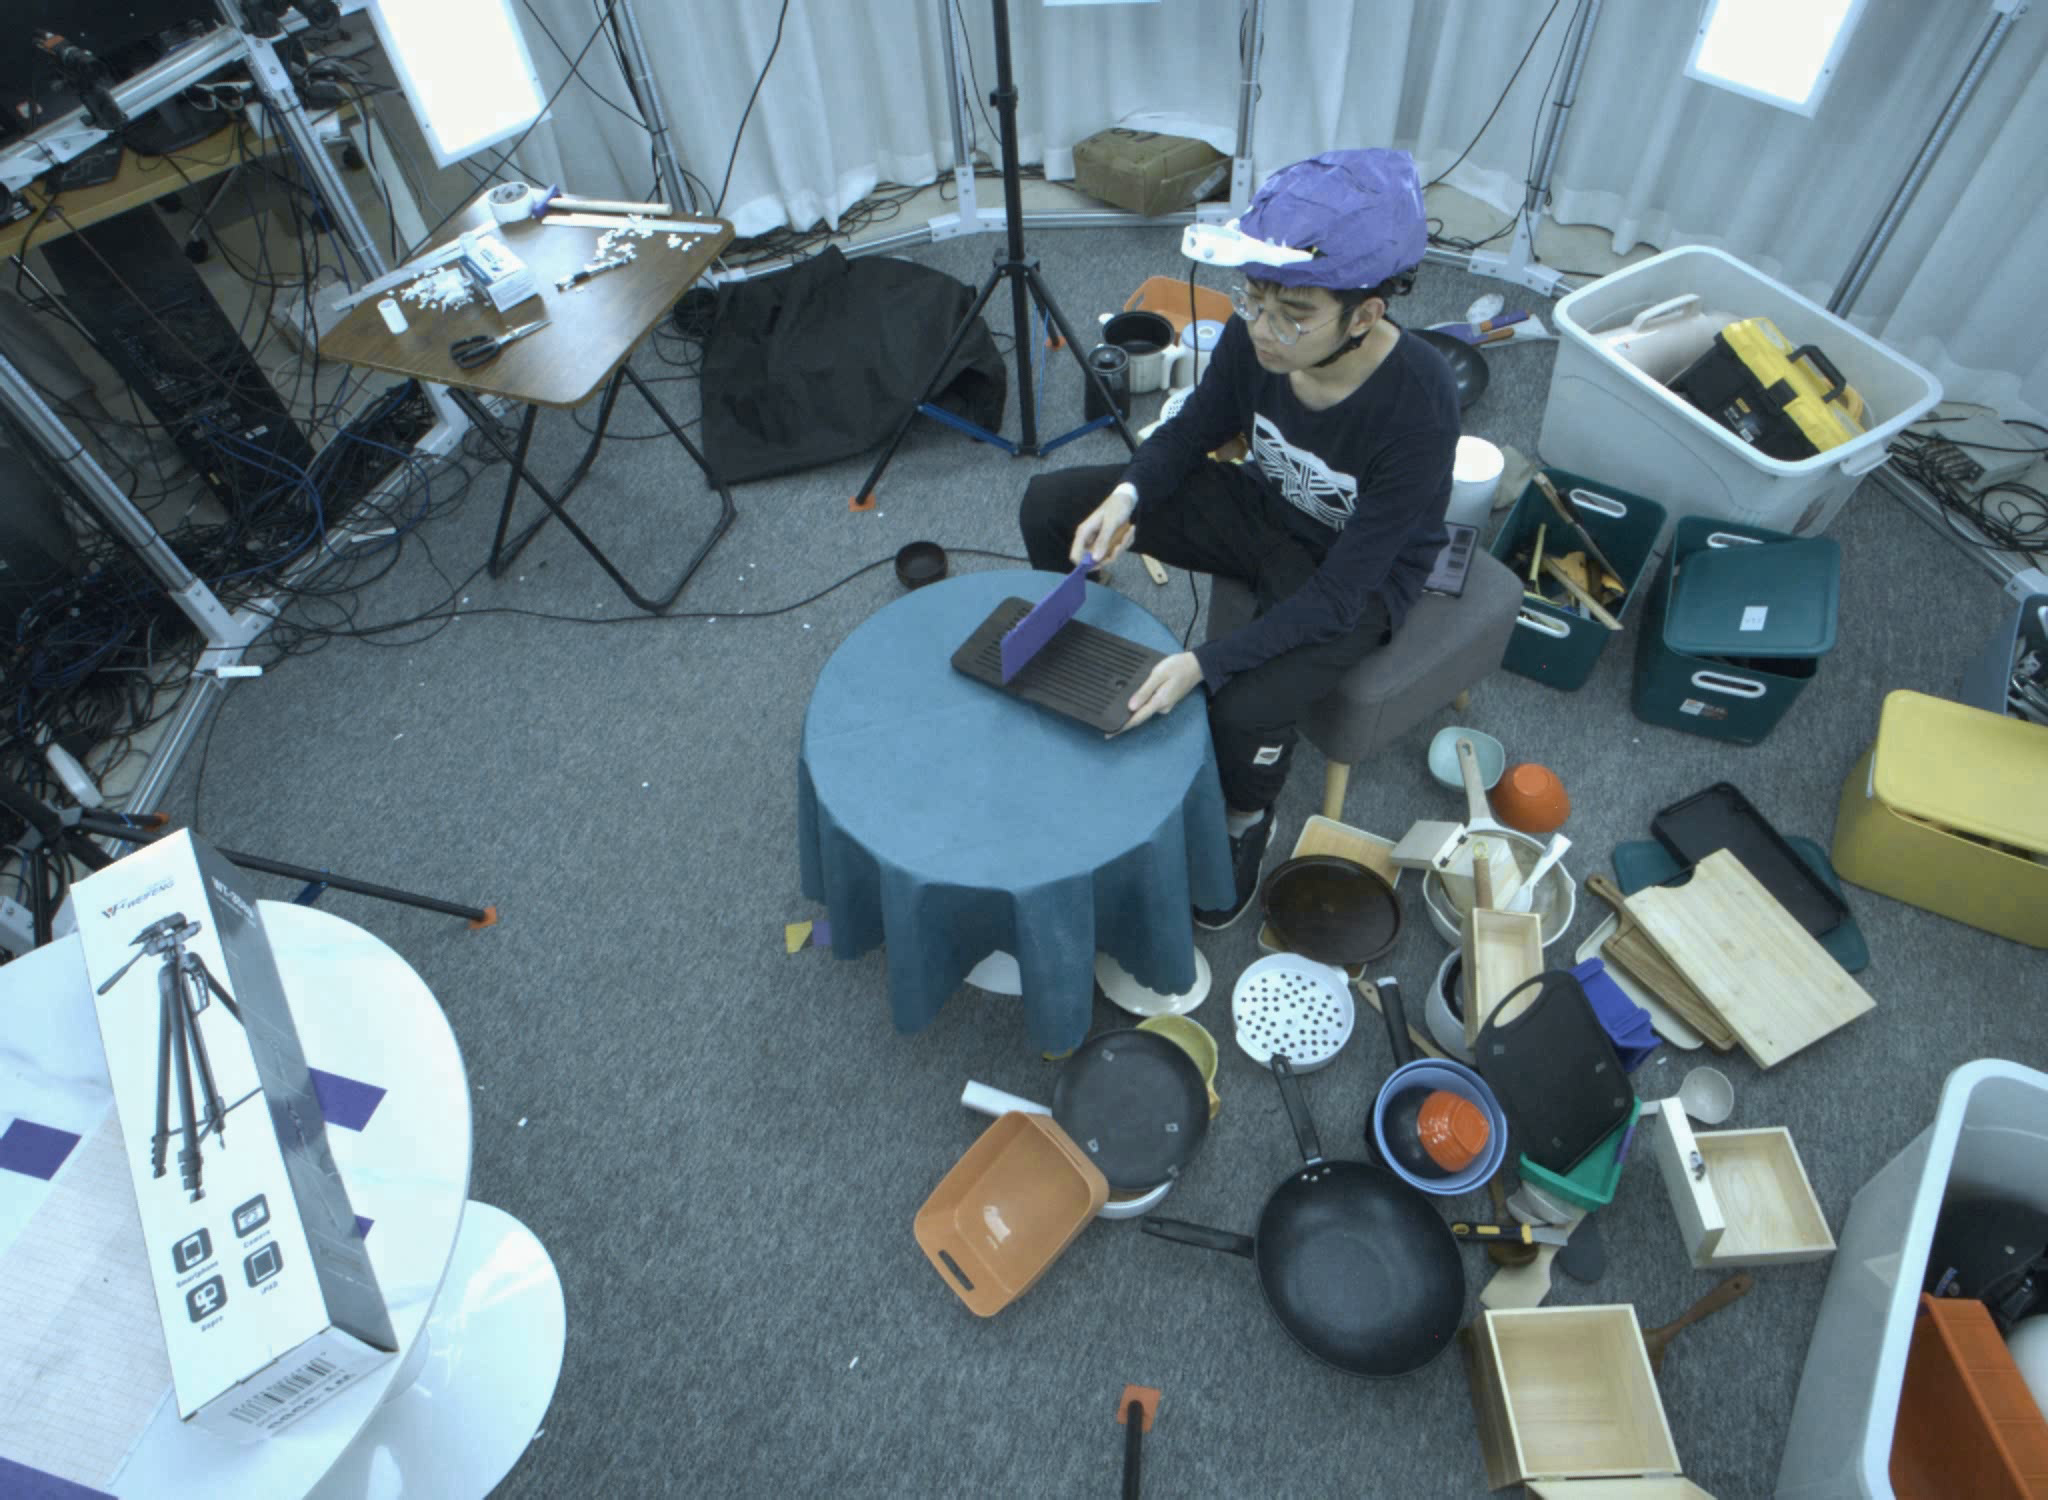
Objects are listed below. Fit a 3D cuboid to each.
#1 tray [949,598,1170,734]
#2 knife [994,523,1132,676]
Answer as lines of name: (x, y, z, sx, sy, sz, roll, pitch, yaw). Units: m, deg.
tray: (0.051, -0.129, 1.857, 0.300, 0.019, 0.171, 24, 58, 25)
knife: (0.057, -0.229, 1.866, 0.031, 0.105, 0.317, 33, 60, 23)
